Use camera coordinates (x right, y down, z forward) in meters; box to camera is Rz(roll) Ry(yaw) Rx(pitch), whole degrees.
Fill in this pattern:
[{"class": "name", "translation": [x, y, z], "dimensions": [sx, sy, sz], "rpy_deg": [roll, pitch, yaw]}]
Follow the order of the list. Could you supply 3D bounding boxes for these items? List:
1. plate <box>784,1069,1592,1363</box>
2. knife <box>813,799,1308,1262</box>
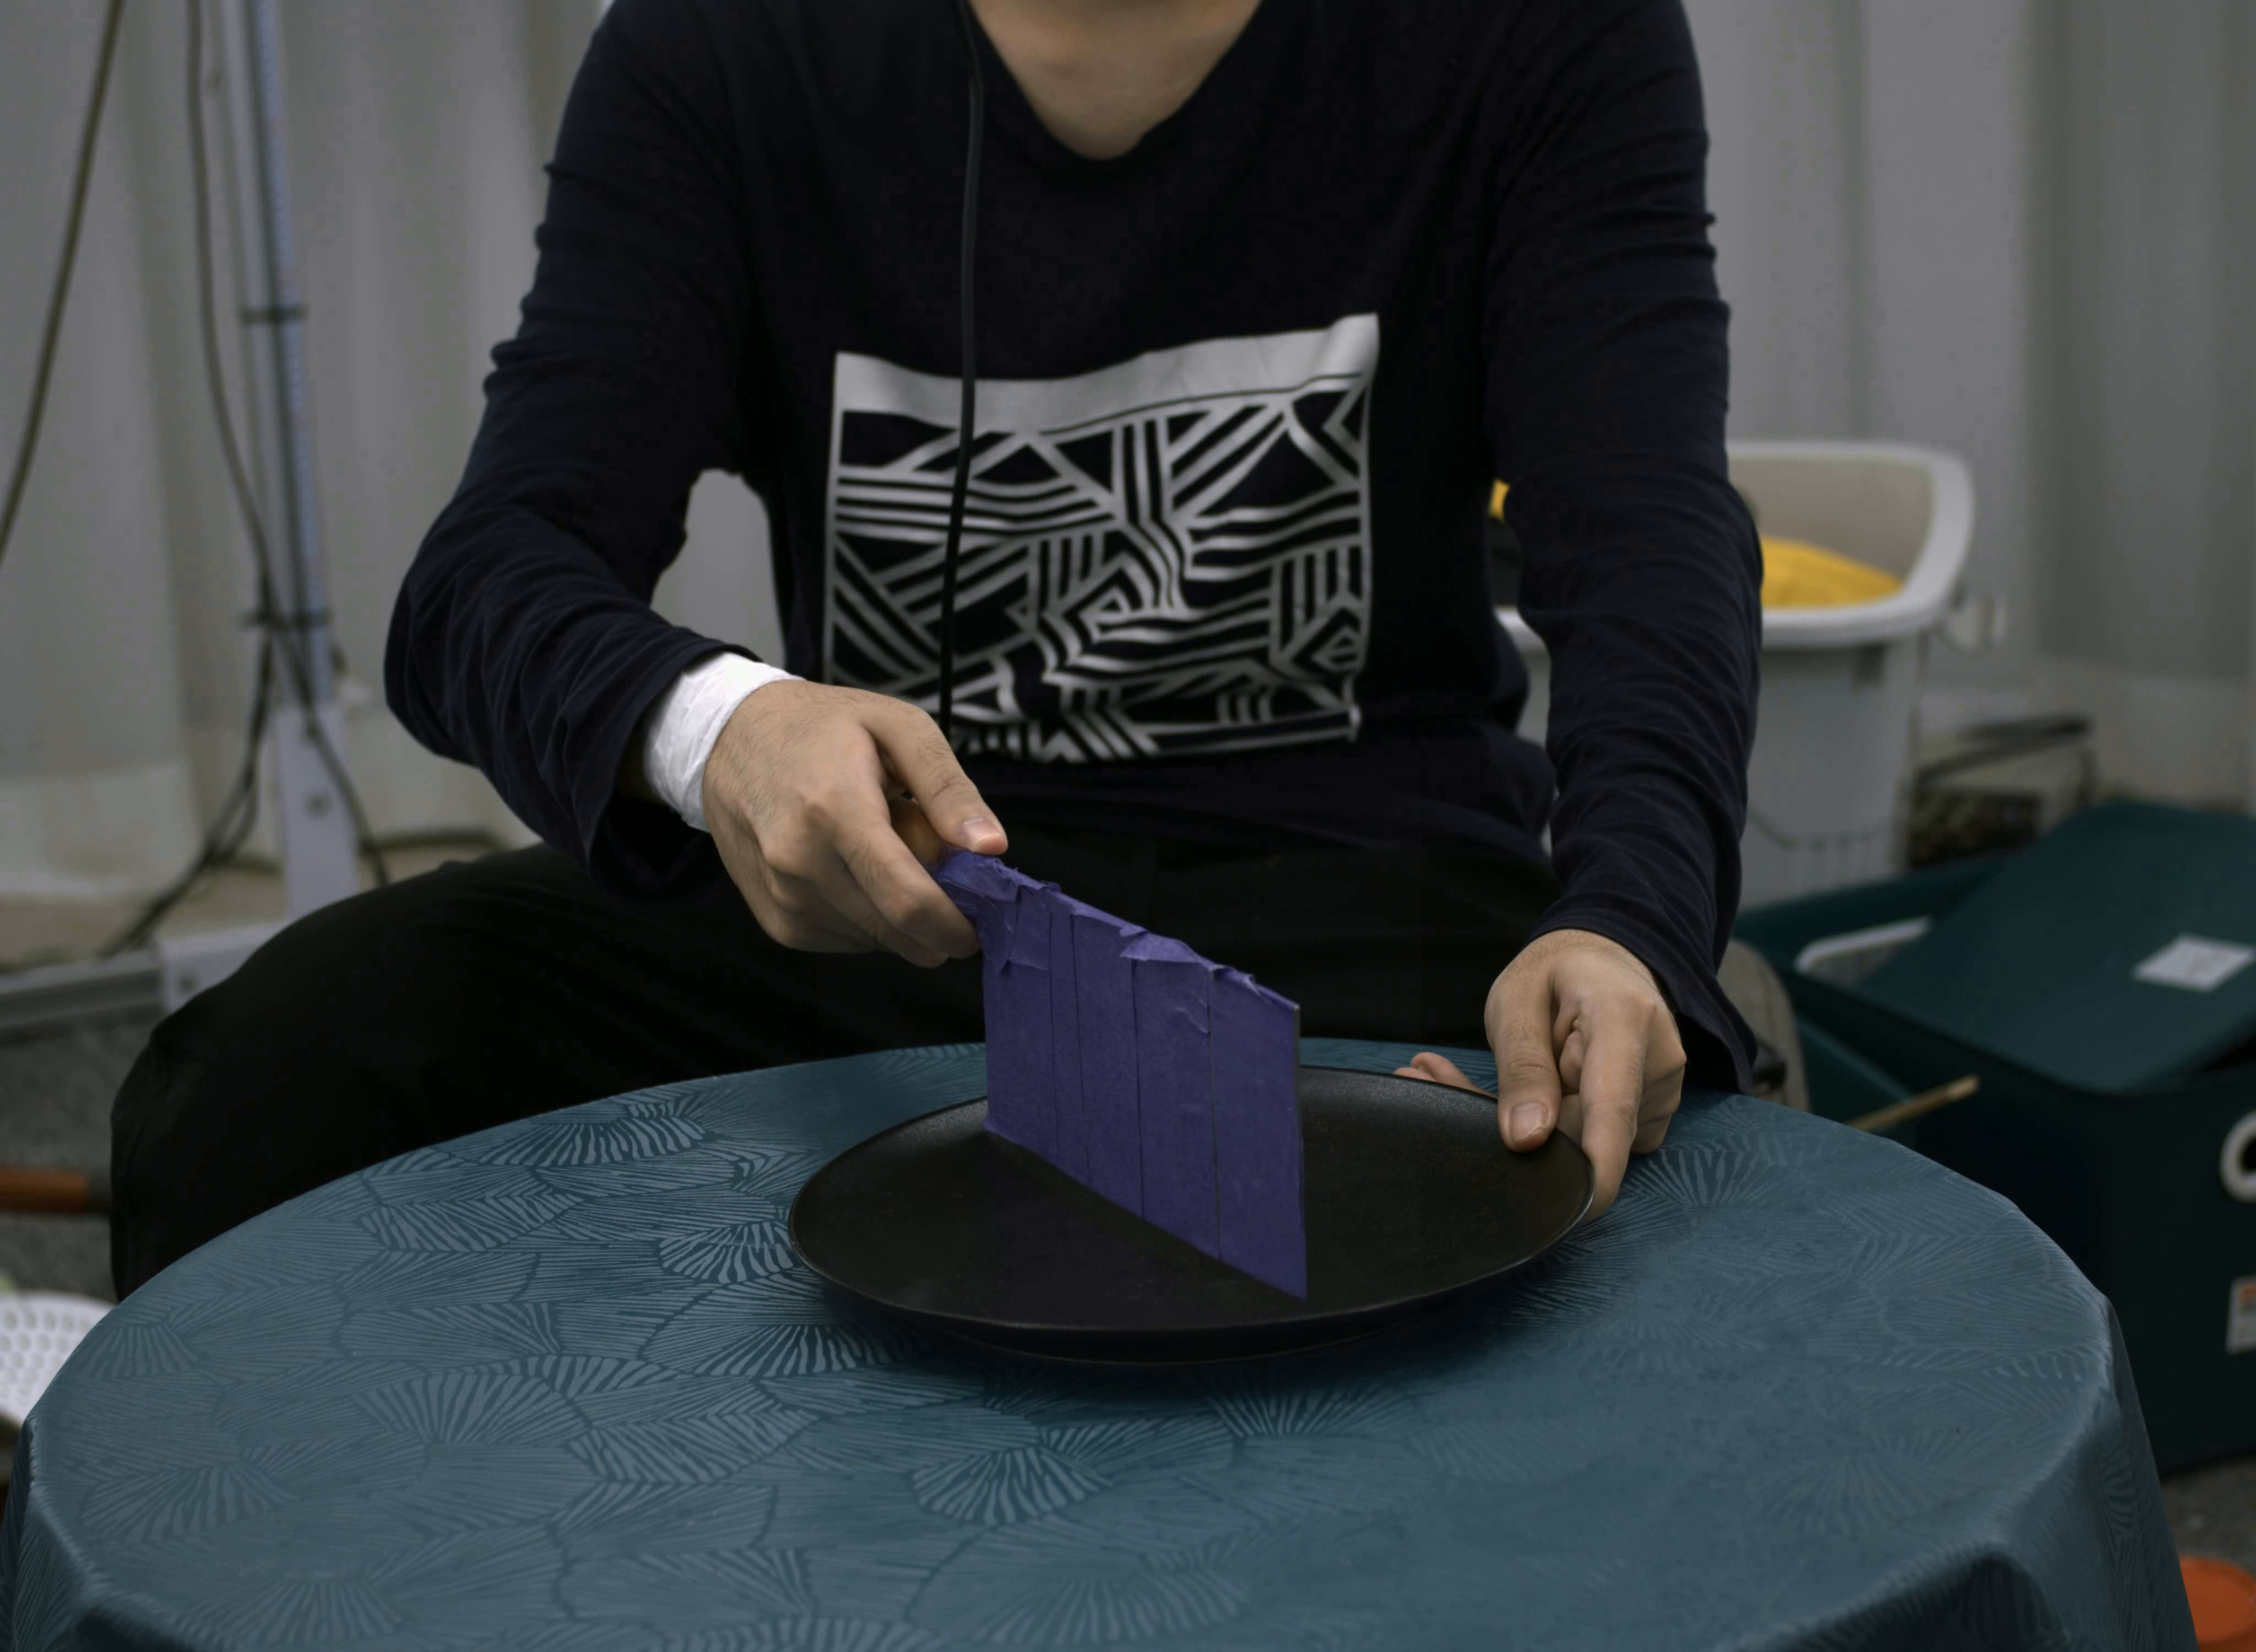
[{"class": "plate", "translation": [0.018, 0.119, 1.647], "dimensions": [0.243, 0.023, 0.246], "rpy_deg": [-3, 15, 1]}, {"class": "knife", "translation": [-0.025, 0.061, 1.674], "dimensions": [0.032, 0.103, 0.317], "rpy_deg": [-5, 12, -24]}]
